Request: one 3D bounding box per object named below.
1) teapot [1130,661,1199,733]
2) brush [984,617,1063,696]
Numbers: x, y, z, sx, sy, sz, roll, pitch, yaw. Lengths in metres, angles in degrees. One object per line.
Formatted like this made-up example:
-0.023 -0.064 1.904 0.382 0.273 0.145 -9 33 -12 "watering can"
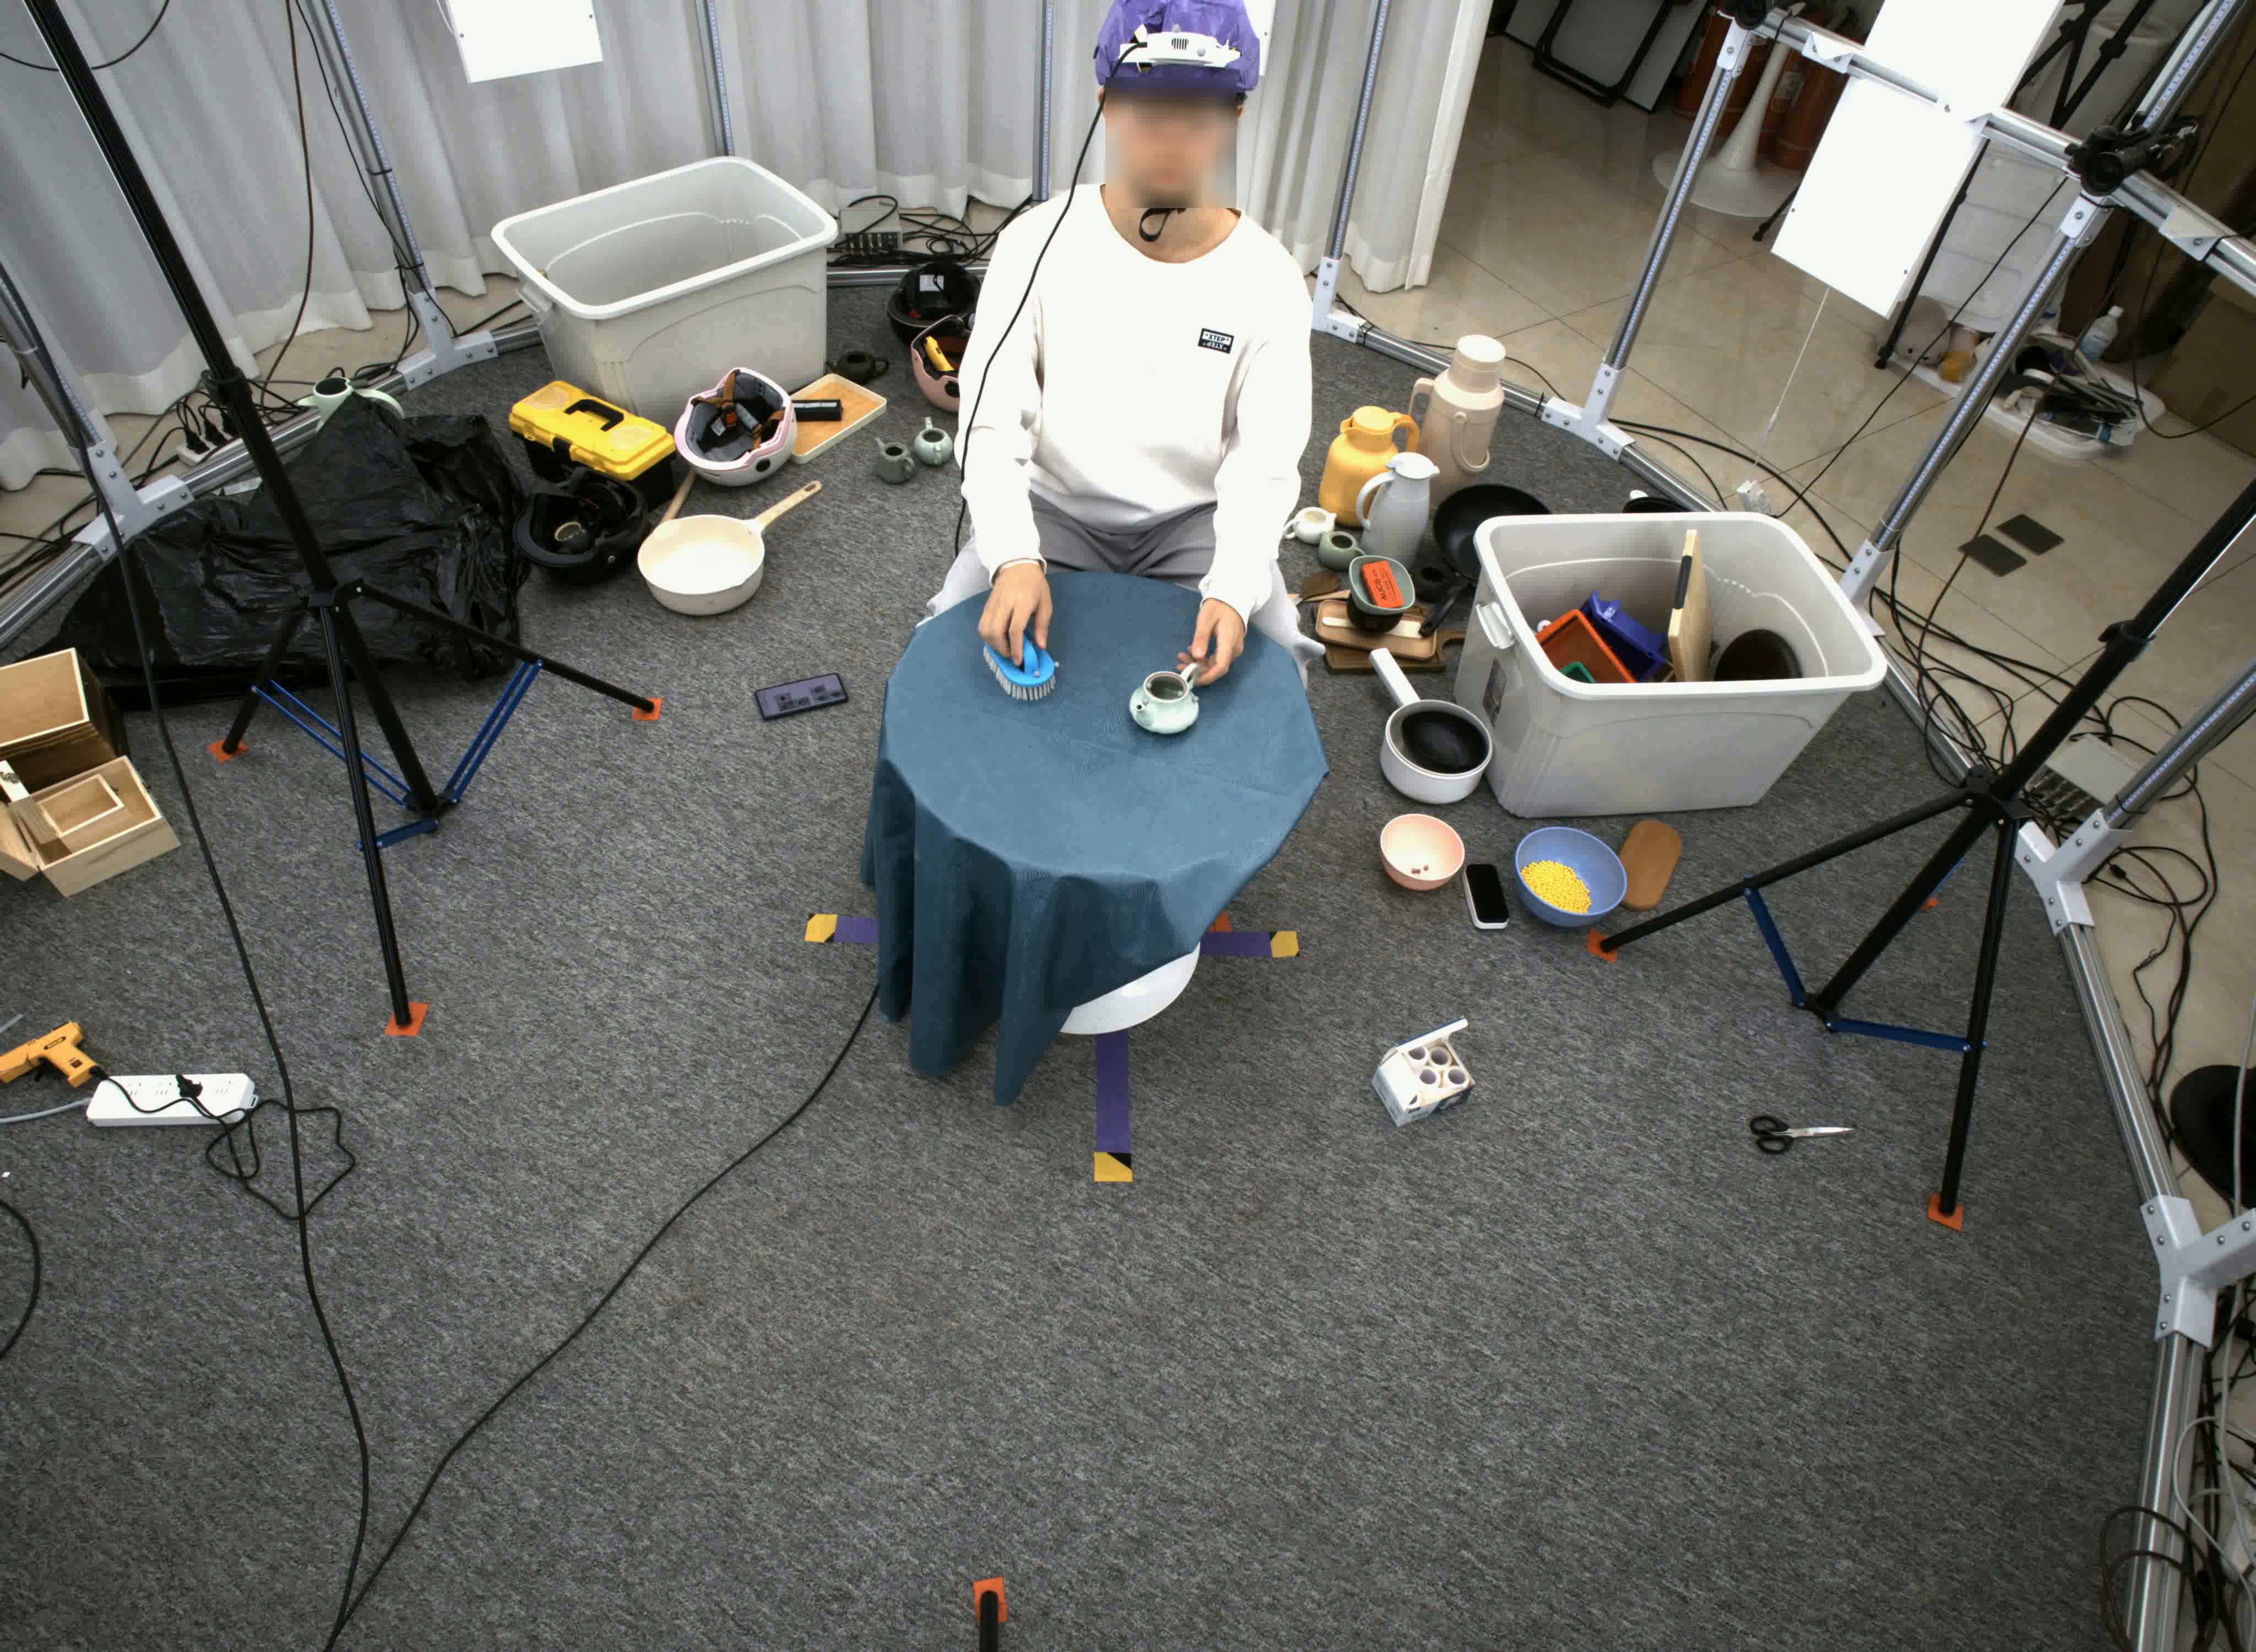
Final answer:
0.054 -0.178 1.784 0.097 0.060 0.138 31 54 24 "teapot"
-0.152 -0.252 1.831 0.084 0.062 0.145 -25 54 -18 "brush"
